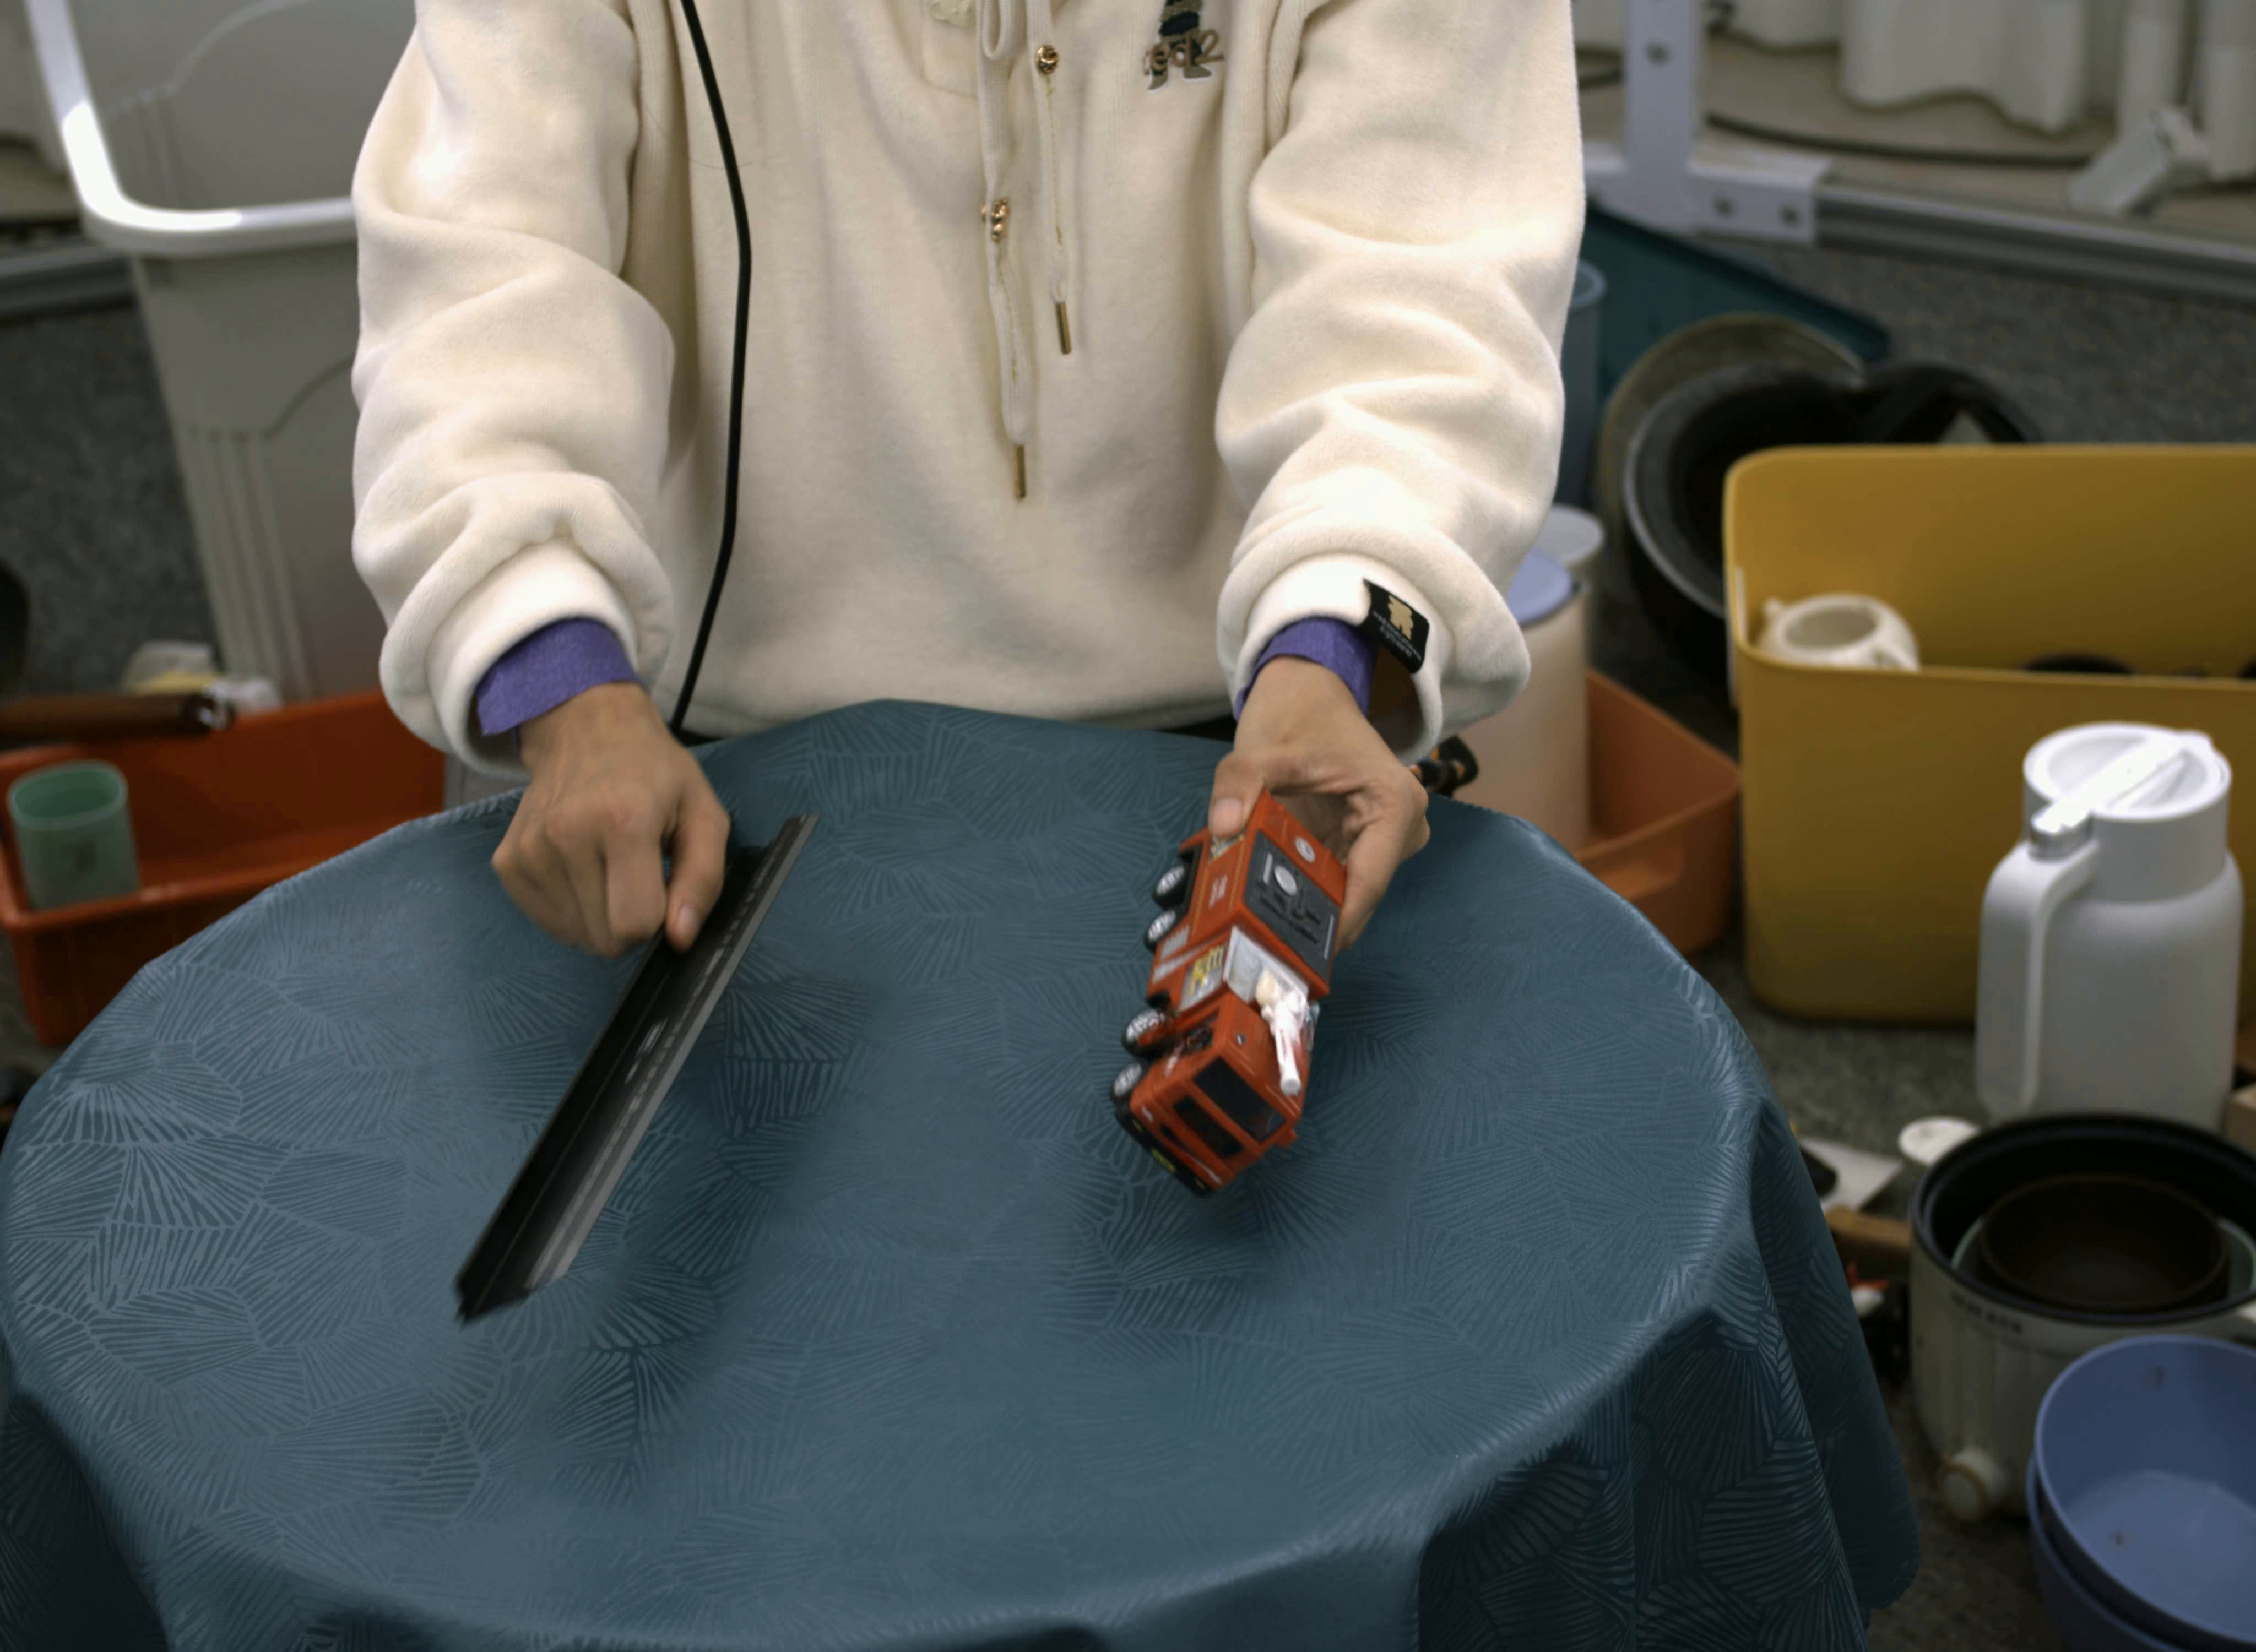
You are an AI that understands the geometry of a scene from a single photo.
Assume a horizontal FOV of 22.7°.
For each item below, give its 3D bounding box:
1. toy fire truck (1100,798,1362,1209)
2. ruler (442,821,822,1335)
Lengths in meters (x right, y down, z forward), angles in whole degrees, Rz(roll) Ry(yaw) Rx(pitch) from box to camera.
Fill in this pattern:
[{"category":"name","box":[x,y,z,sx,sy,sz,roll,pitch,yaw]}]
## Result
[{"category":"toy fire truck","box":[0.038,0.058,1.871,0.069,0.054,0.171,-40,18,26]},{"category":"ruler","box":[-0.161,0.073,1.853,0.039,0.017,0.318,-20,21,24]}]
